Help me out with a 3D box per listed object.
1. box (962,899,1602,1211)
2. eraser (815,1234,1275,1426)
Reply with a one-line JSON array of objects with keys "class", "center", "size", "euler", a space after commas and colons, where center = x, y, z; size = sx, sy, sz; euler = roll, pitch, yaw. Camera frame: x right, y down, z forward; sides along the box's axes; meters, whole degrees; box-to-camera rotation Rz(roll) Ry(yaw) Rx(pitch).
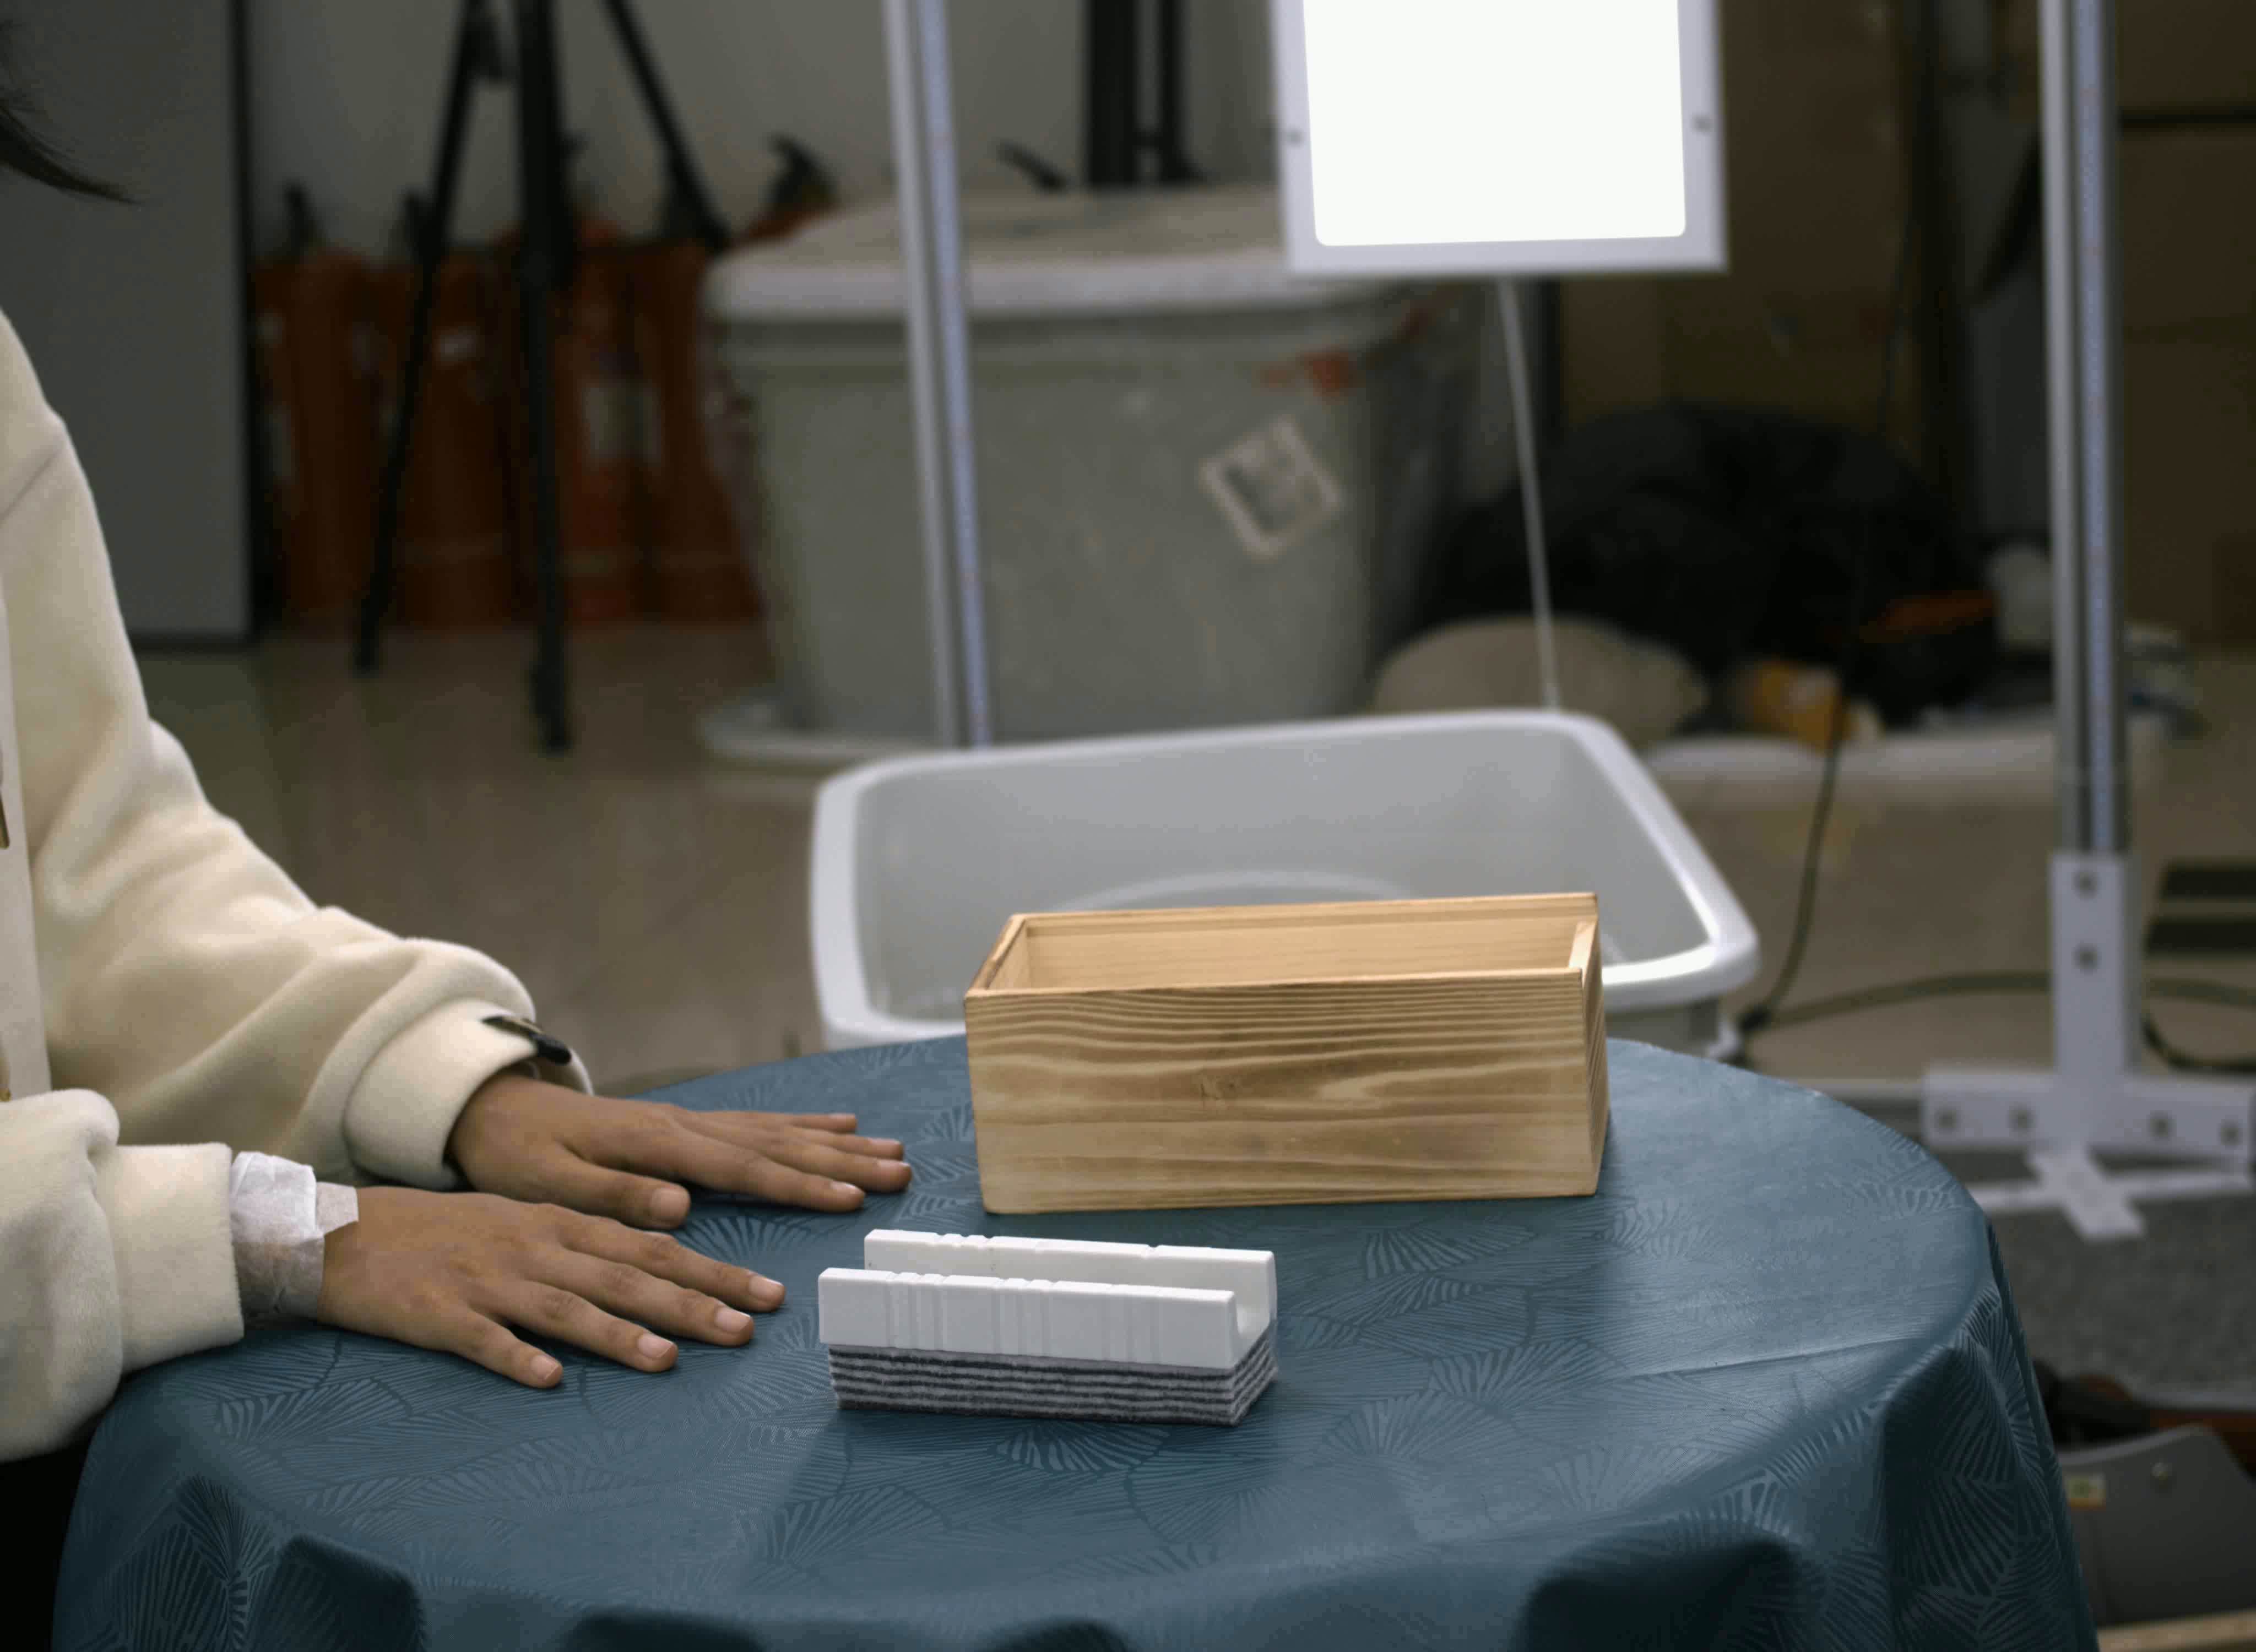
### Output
[{"class": "box", "center": [0.056, 0.079, 1.907], "size": [0.212, 0.080, 0.106], "euler": [-2, 14, 10]}, {"class": "eraser", "center": [-0.025, 0.154, 1.696], "size": [0.136, 0.047, 0.049], "euler": [1, 17, 19]}]
